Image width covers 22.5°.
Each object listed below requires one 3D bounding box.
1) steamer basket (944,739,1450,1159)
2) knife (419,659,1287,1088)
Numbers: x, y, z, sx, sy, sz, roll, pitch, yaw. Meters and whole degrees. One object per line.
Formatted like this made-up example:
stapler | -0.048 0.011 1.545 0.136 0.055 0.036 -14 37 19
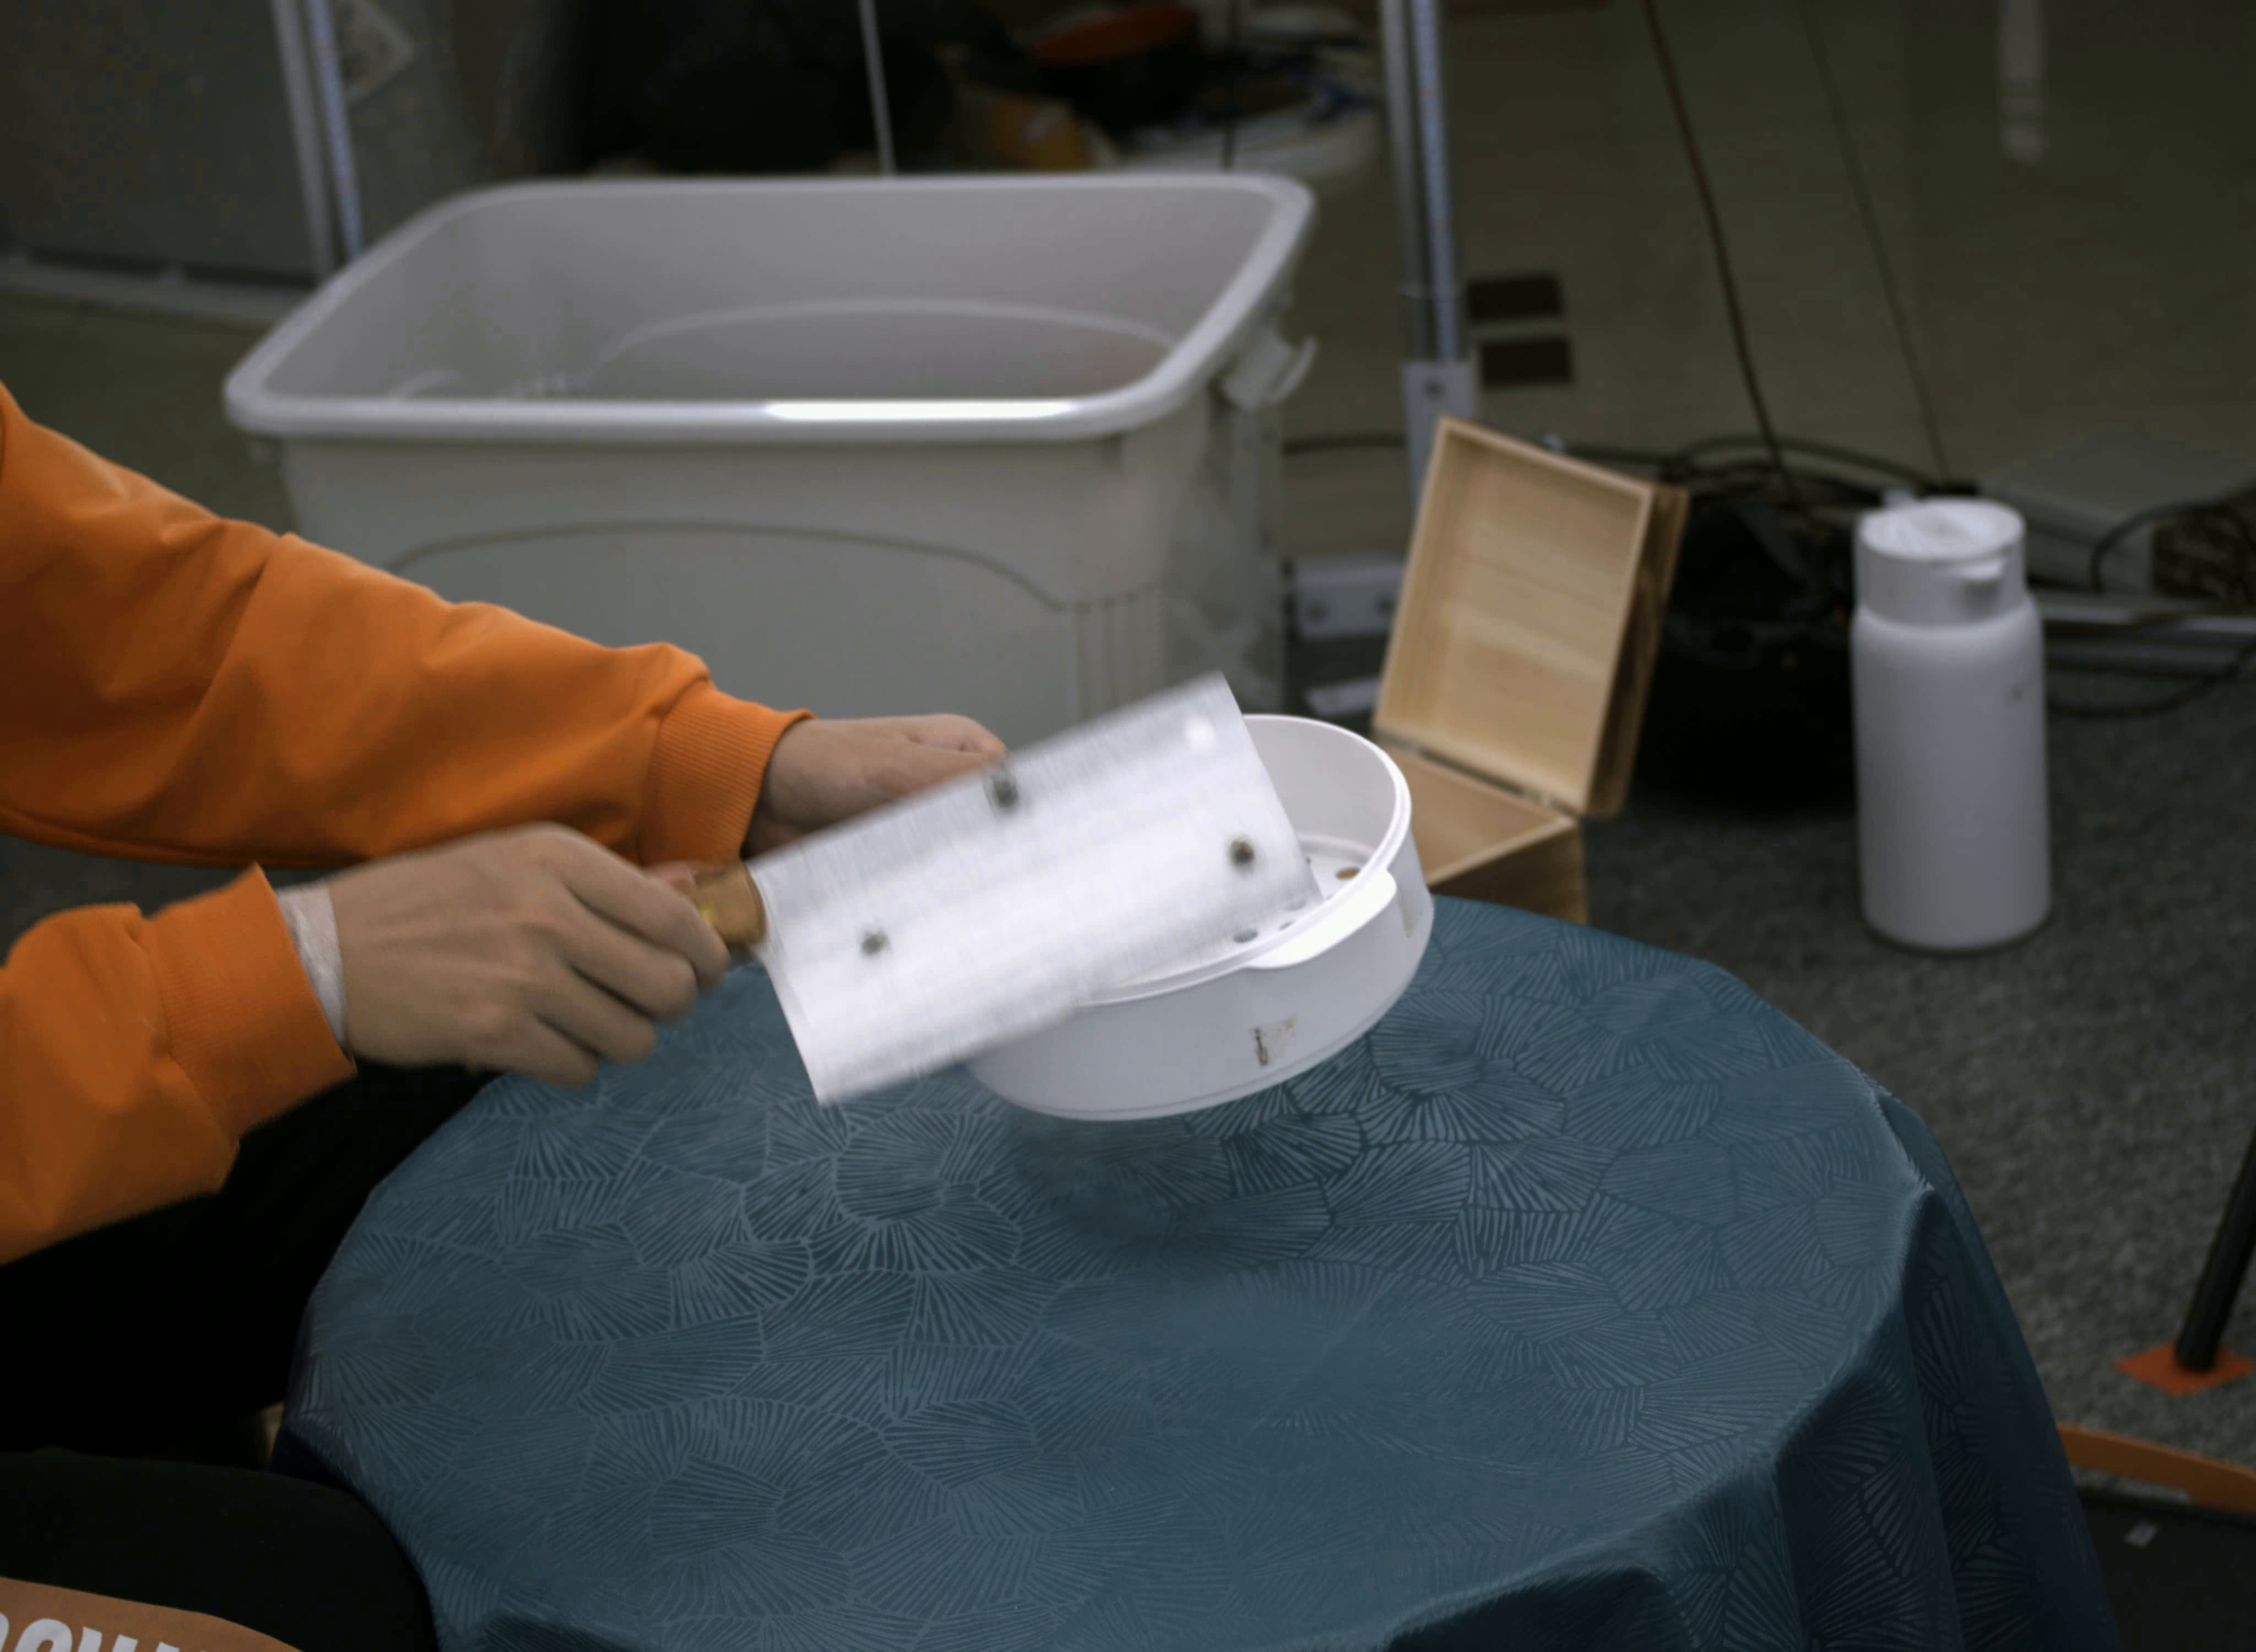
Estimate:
steamer basket | 0.024 0.048 2.171 0.200 0.070 0.228 -35 37 -28
knife | -0.092 0.036 1.968 0.305 0.092 0.021 -23 -12 -5
